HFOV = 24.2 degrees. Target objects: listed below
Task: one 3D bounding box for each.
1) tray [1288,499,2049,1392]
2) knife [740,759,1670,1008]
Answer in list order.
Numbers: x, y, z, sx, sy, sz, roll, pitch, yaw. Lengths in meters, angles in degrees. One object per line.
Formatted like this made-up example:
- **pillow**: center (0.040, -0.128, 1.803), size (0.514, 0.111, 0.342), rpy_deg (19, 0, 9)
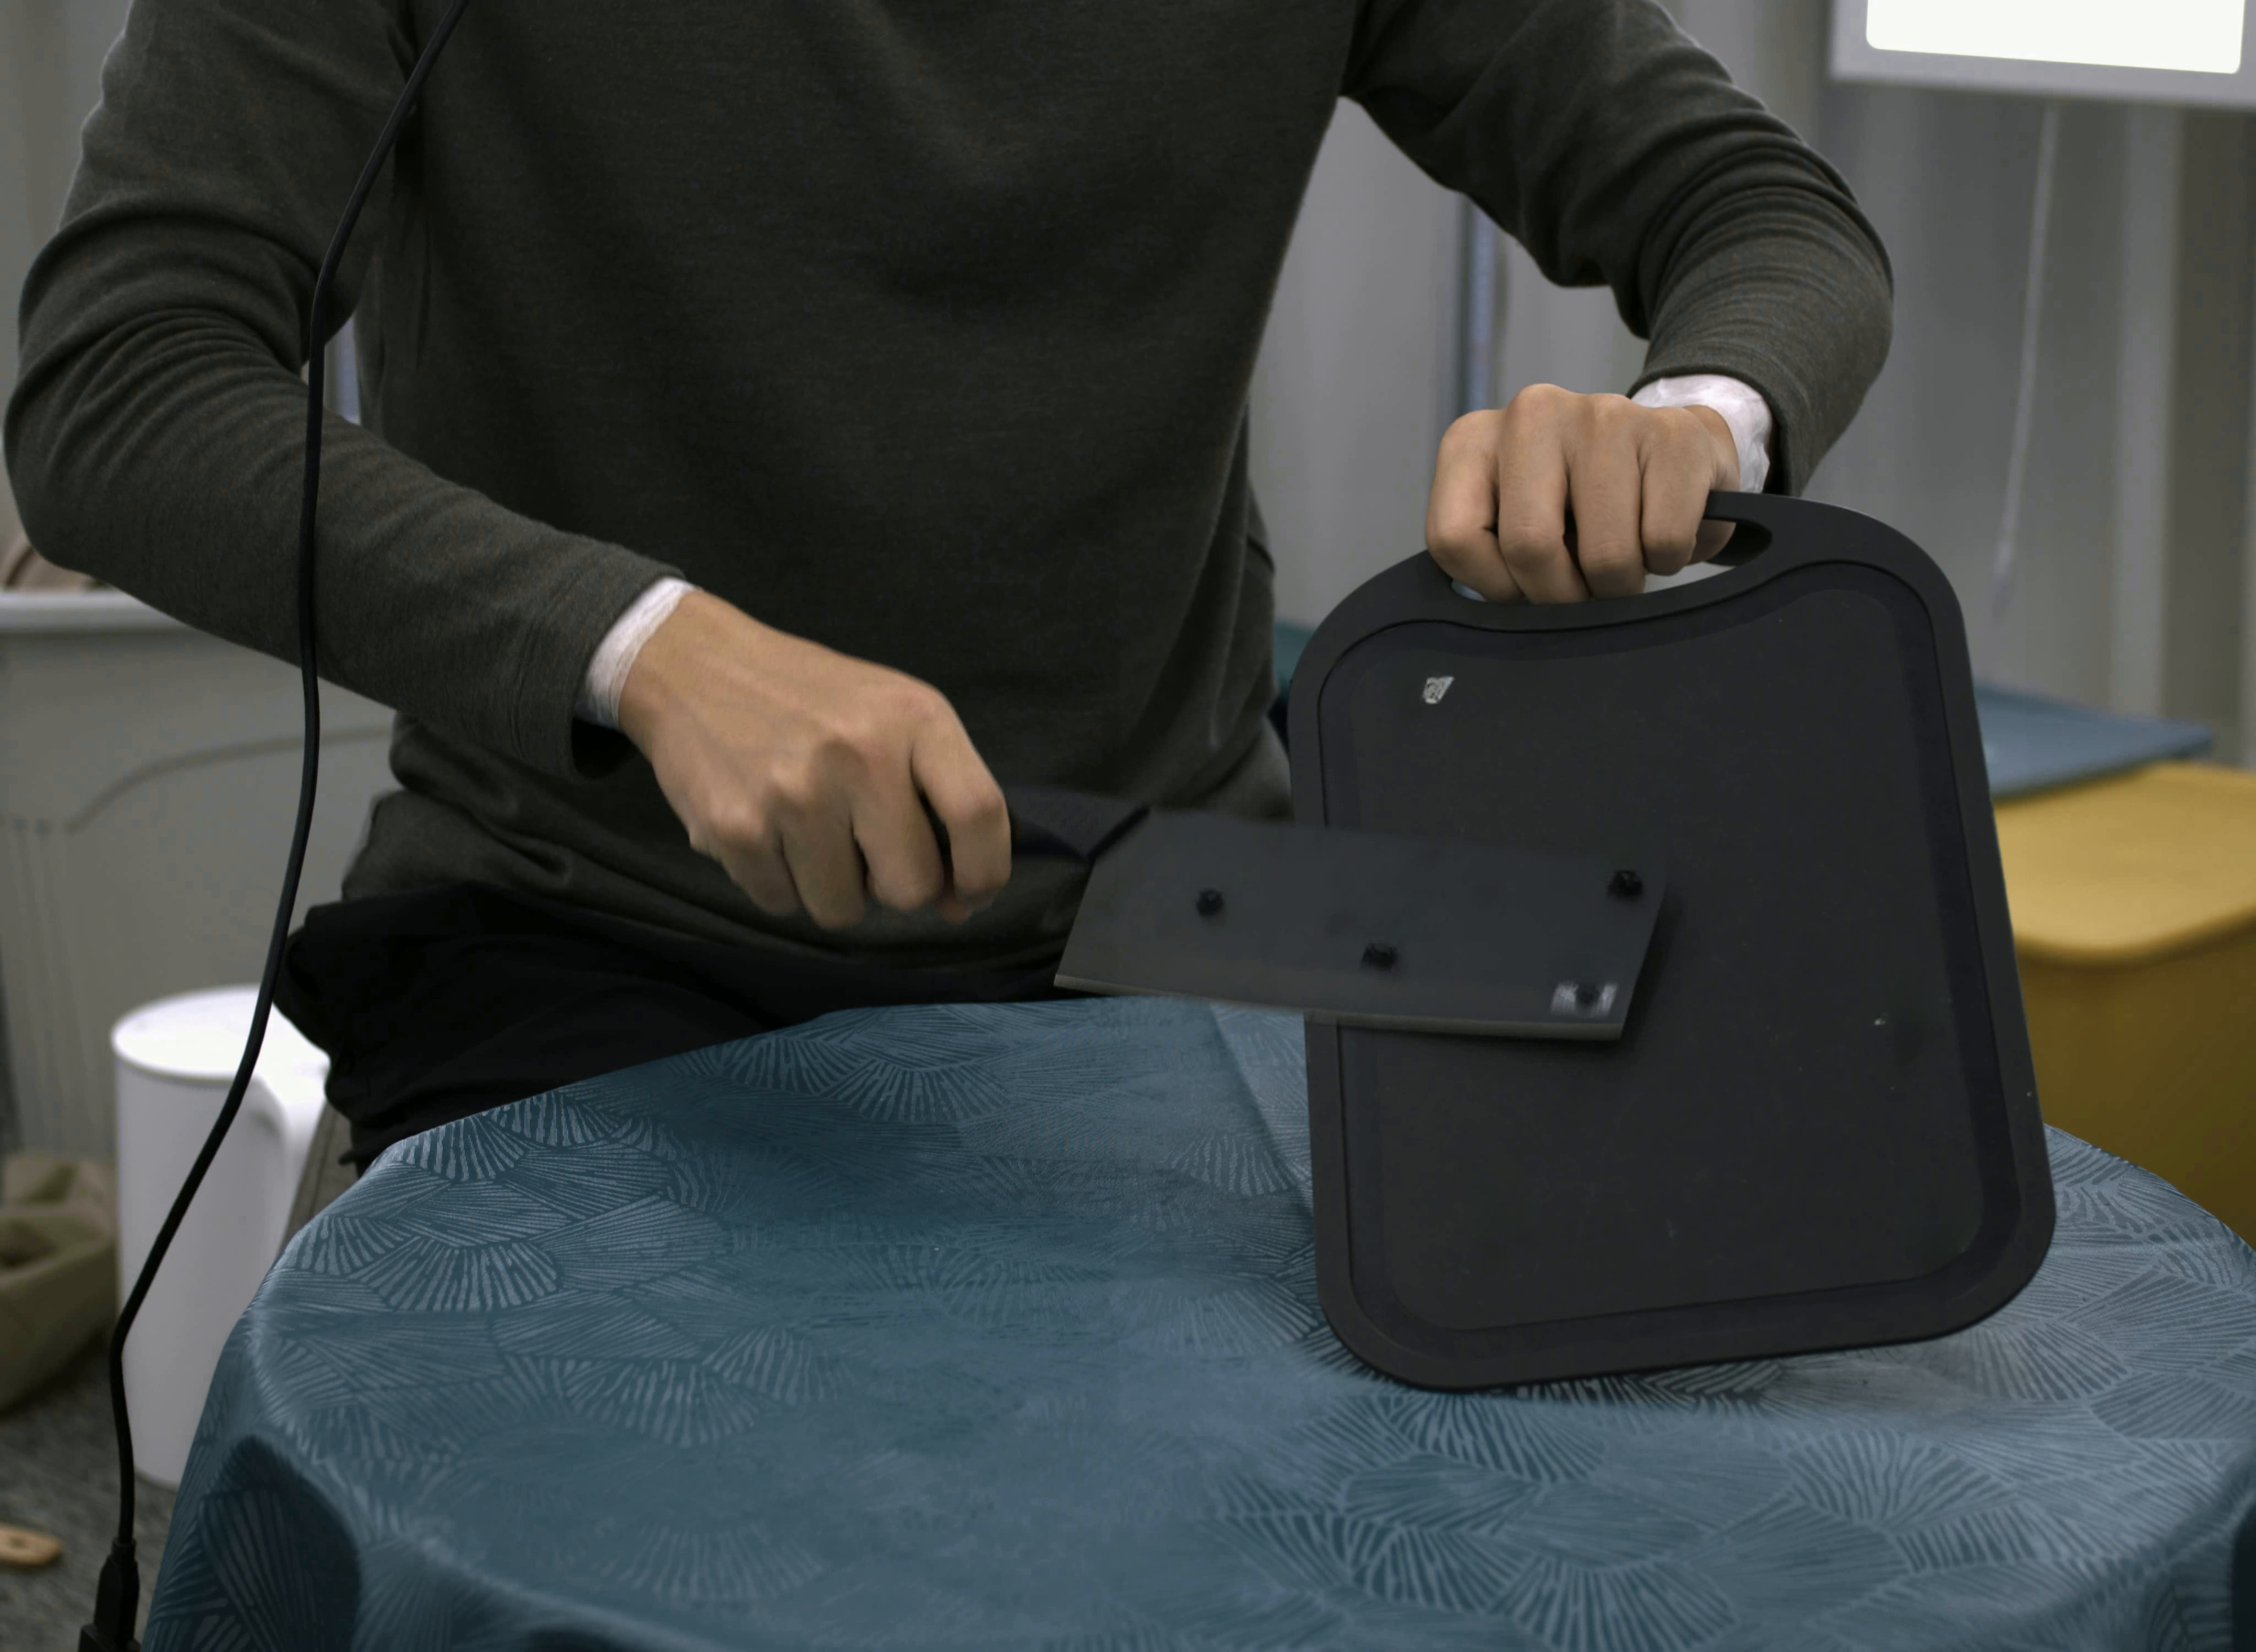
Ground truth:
- **tray**: center (0.153, 0.024, 1.556), size (0.210, 0.010, 0.322), rpy_deg (-6, 51, 7)
- **knife**: center (0.017, 0.016, 1.598), size (0.299, 0.021, 0.080), rpy_deg (9, 58, 24)
